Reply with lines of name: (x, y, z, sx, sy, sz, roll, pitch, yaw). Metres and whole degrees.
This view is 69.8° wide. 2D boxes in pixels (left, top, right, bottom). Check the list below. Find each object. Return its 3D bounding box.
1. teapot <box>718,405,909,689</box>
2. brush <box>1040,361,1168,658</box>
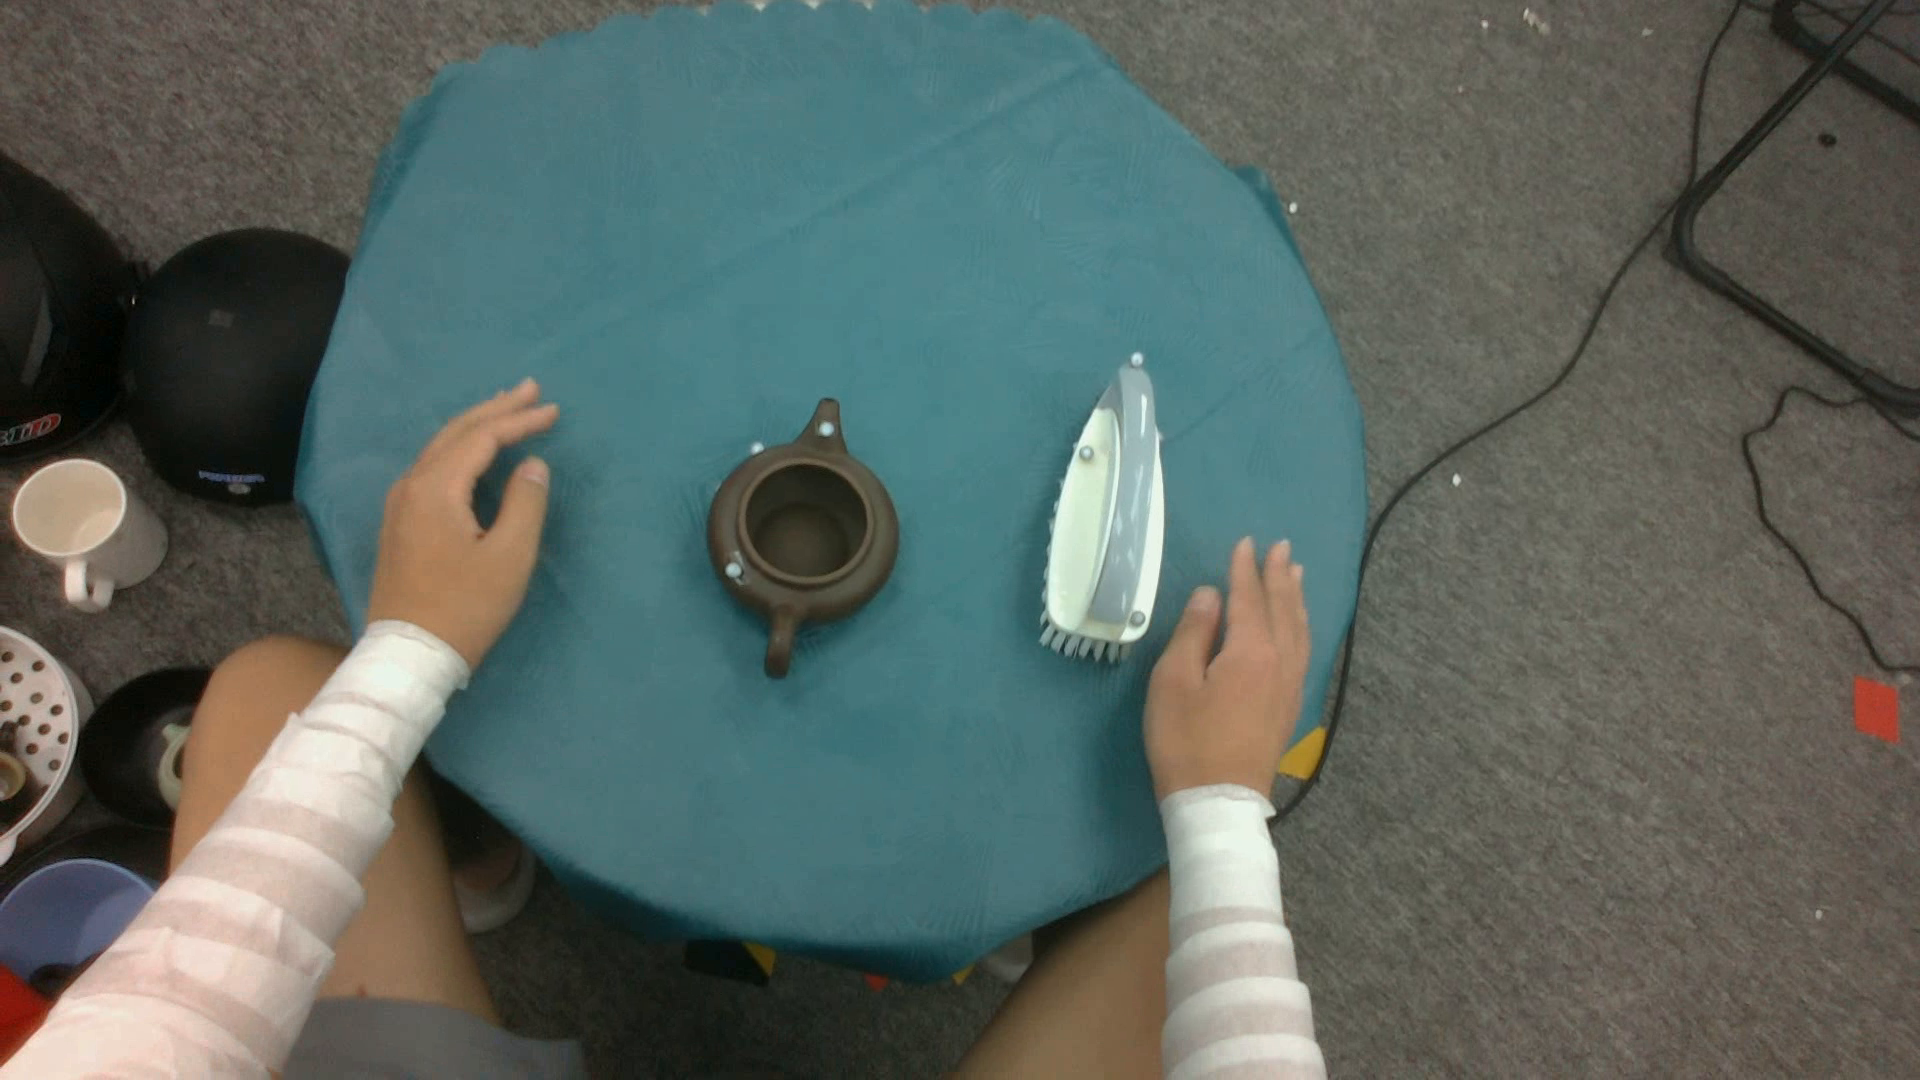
teapot: (-0.079, 0.005, 0.742, 0.102, 0.053, 0.154, 3, 69, -6)
brush: (0.087, -0.030, 0.762, 0.061, 0.094, 0.176, 12, 66, -9)
